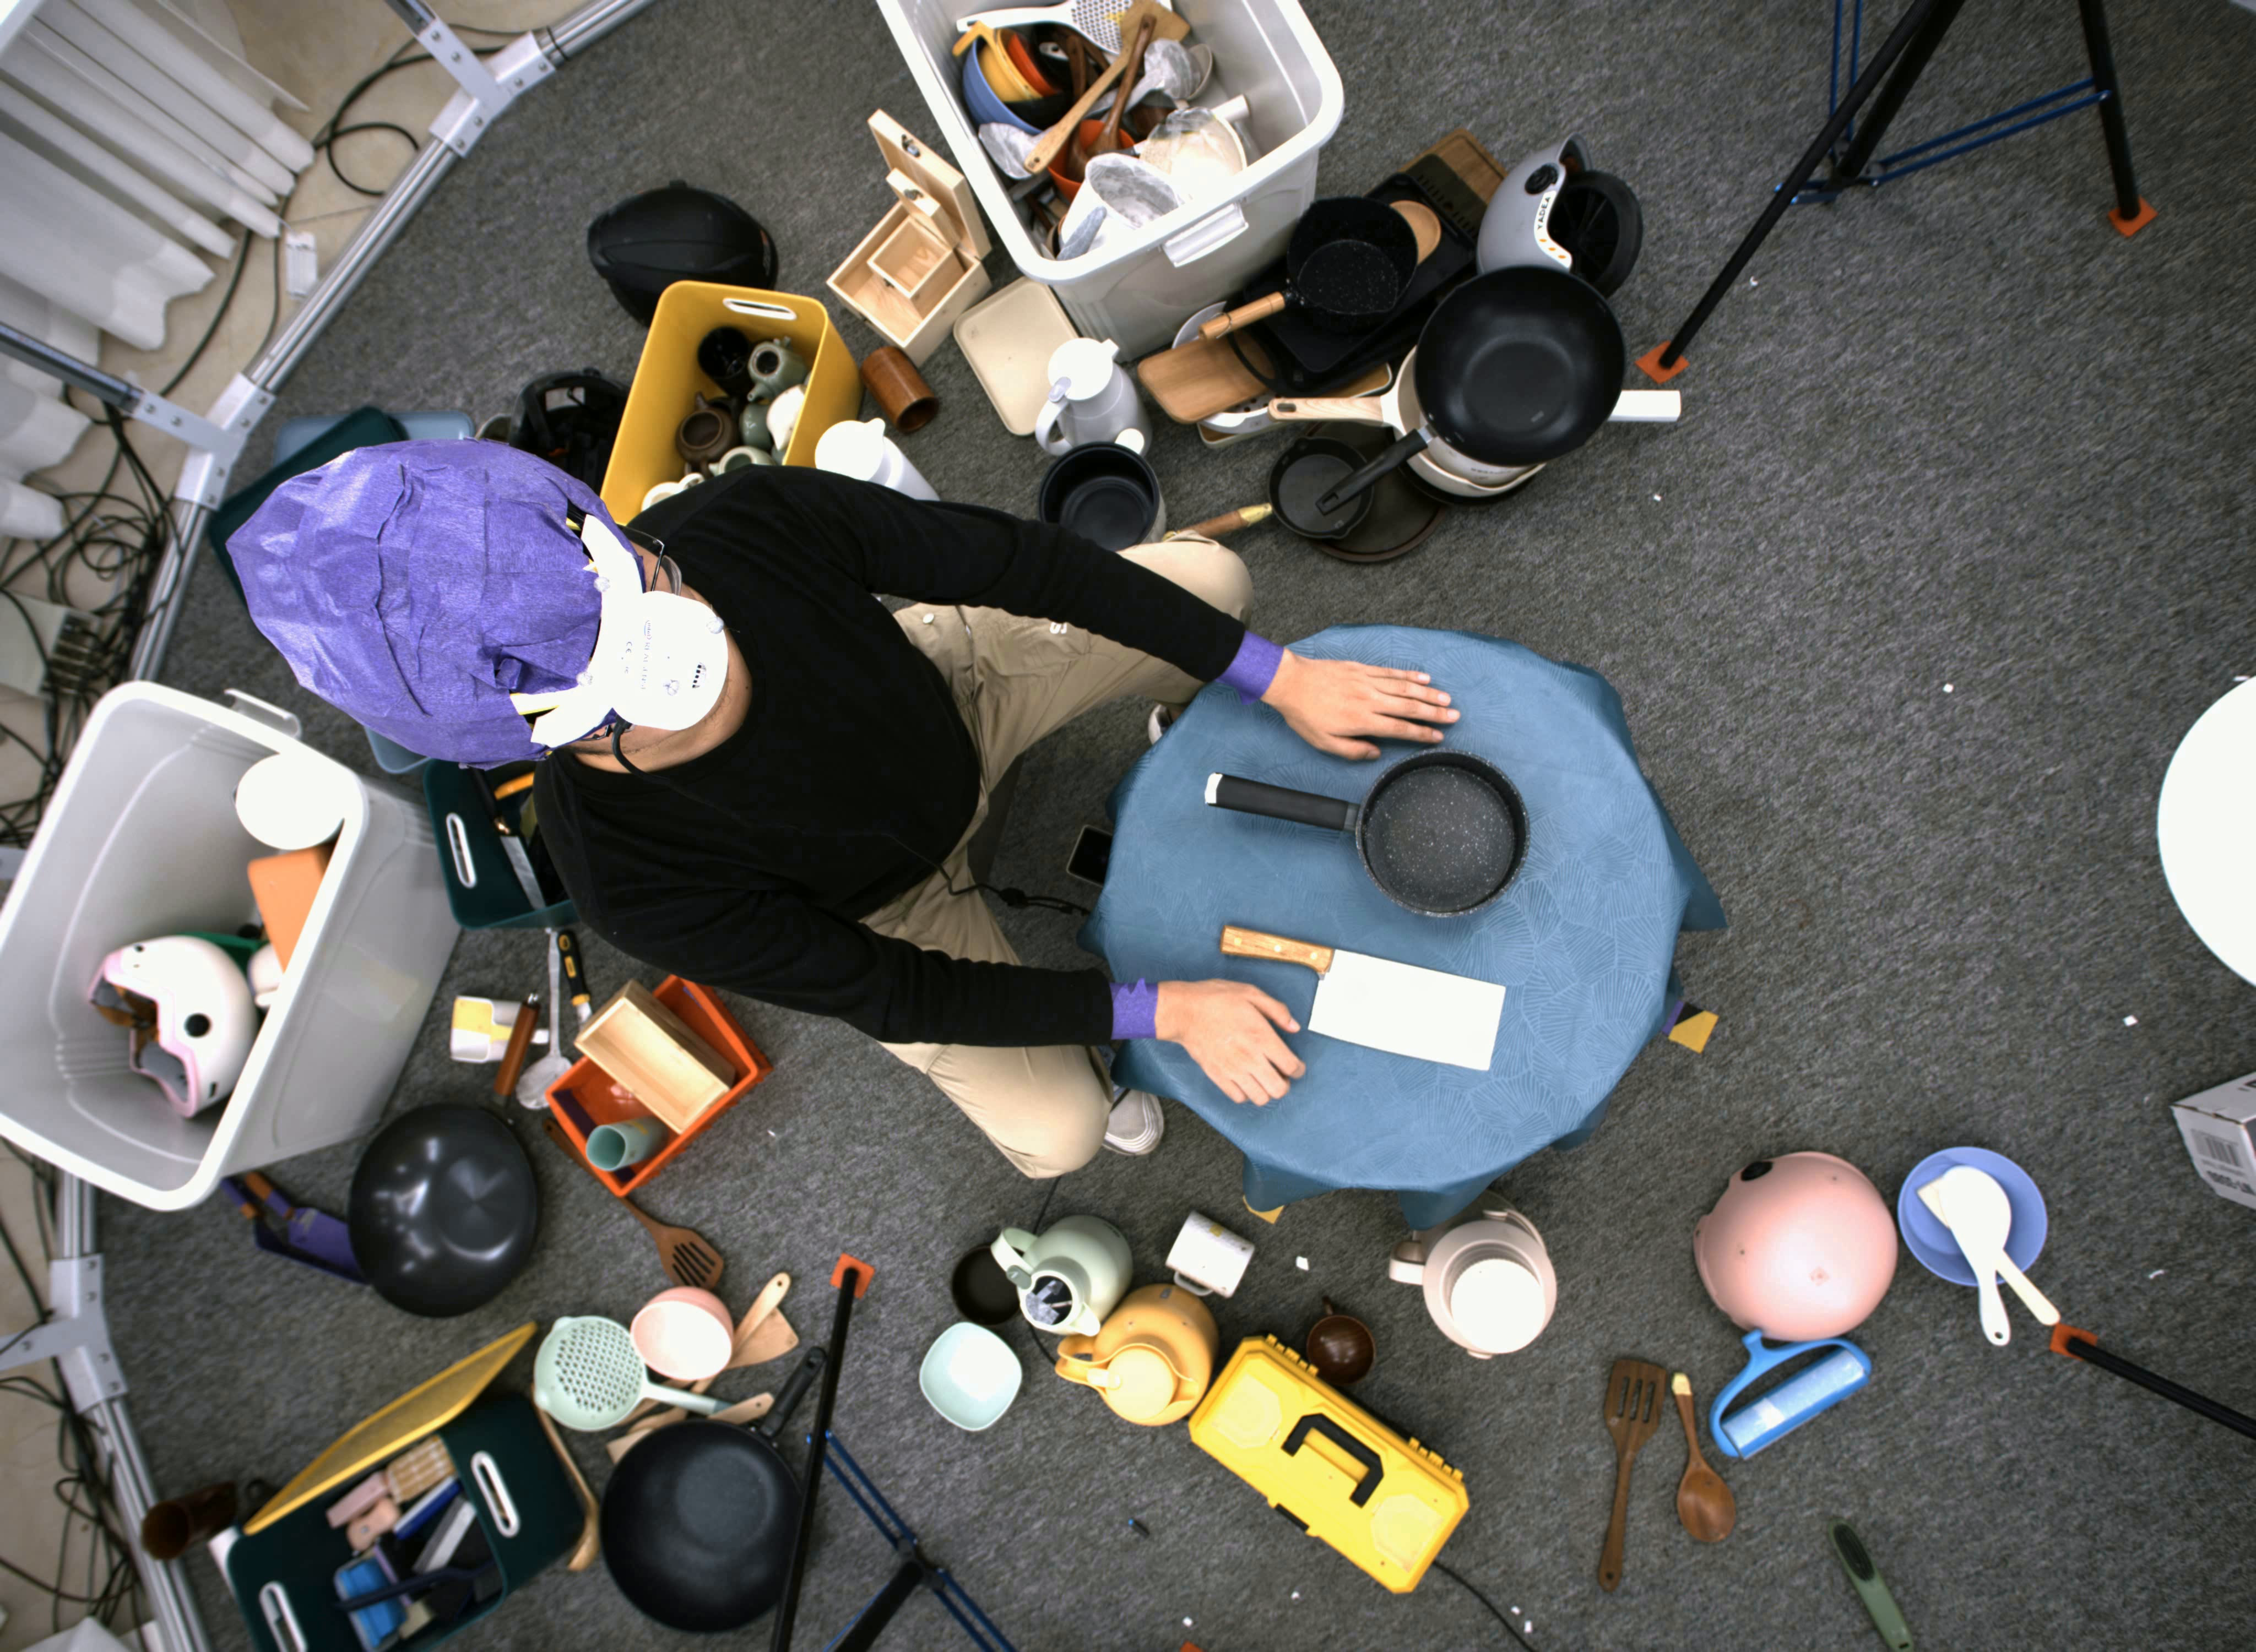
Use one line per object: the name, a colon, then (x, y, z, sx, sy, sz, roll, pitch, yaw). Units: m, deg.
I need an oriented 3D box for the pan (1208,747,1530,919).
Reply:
pan: (0.246, -0.009, 1.428, 0.329, 0.086, 0.171, 14, 89, 11)

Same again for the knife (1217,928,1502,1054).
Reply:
knife: (0.237, 0.175, 1.455, 0.306, 0.021, 0.093, 12, 91, 9)
